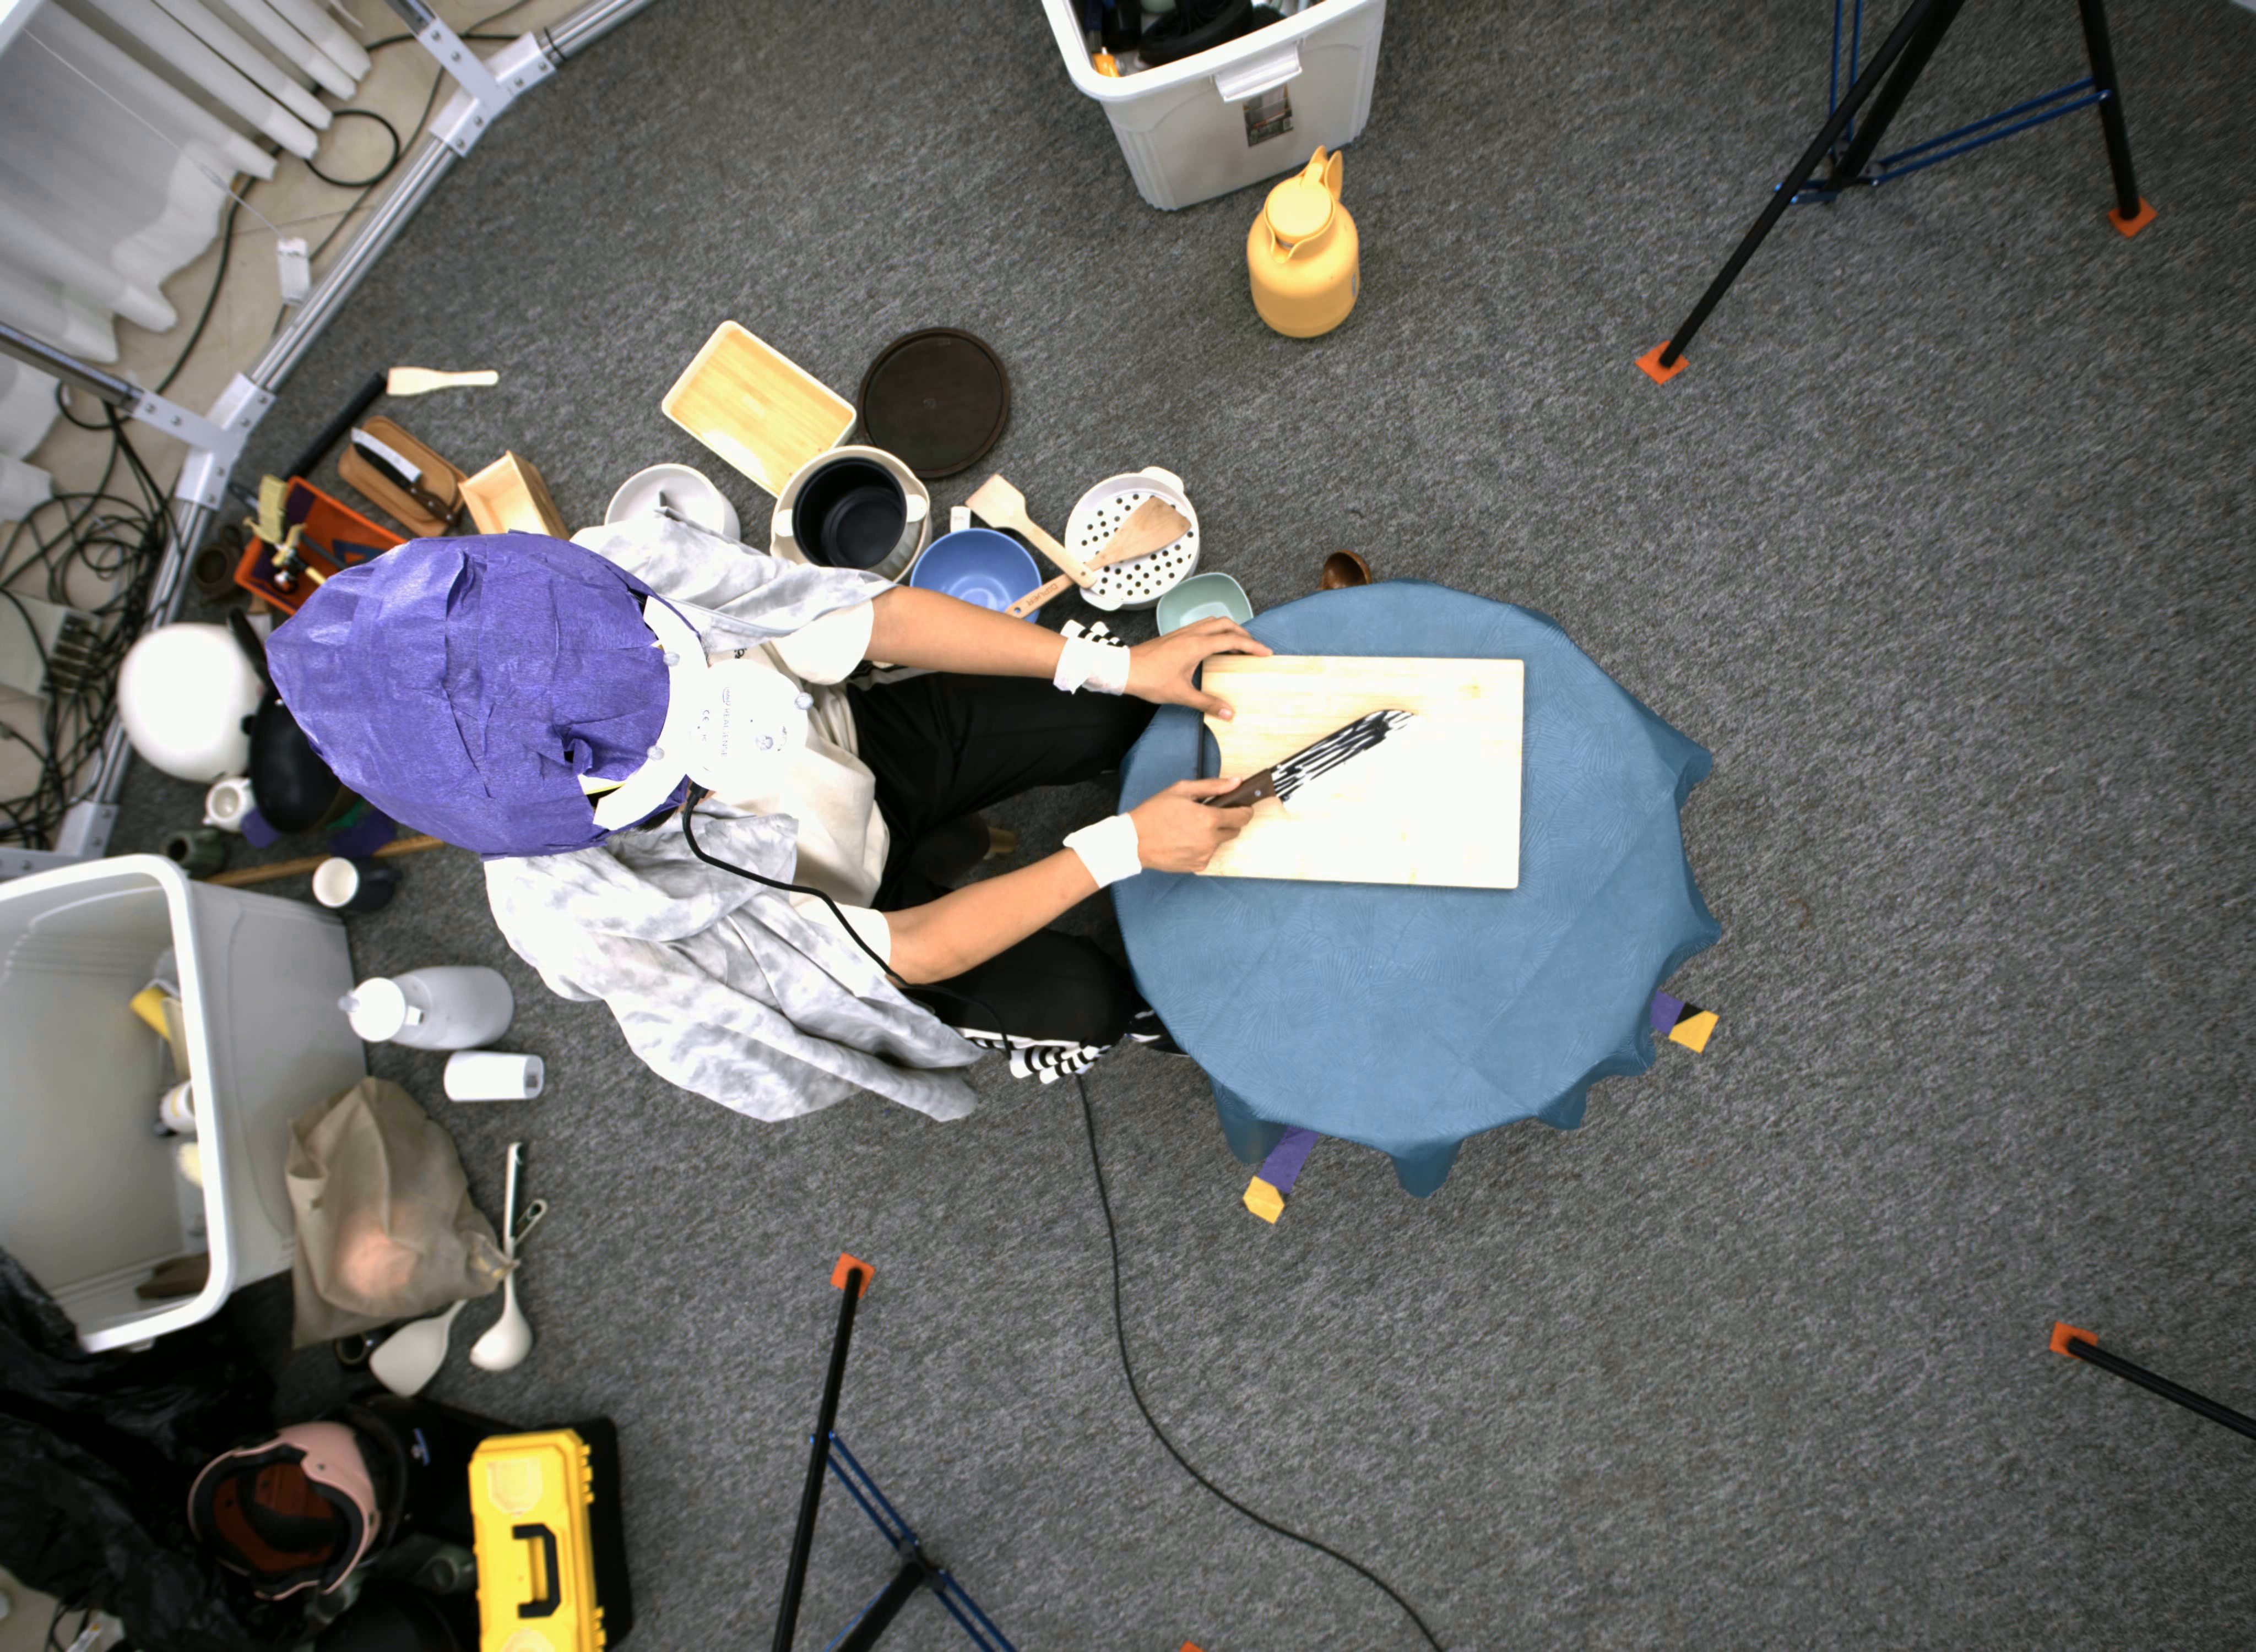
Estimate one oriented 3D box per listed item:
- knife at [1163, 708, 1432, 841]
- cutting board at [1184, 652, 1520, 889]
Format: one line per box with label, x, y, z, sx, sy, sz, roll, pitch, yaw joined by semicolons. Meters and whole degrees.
knife;0.178;-0.049;1.435;0.300;0.023;0.069;-29;124;4
cutting board;0.237;-0.063;1.464;0.350;0.023;0.249;1;87;11
